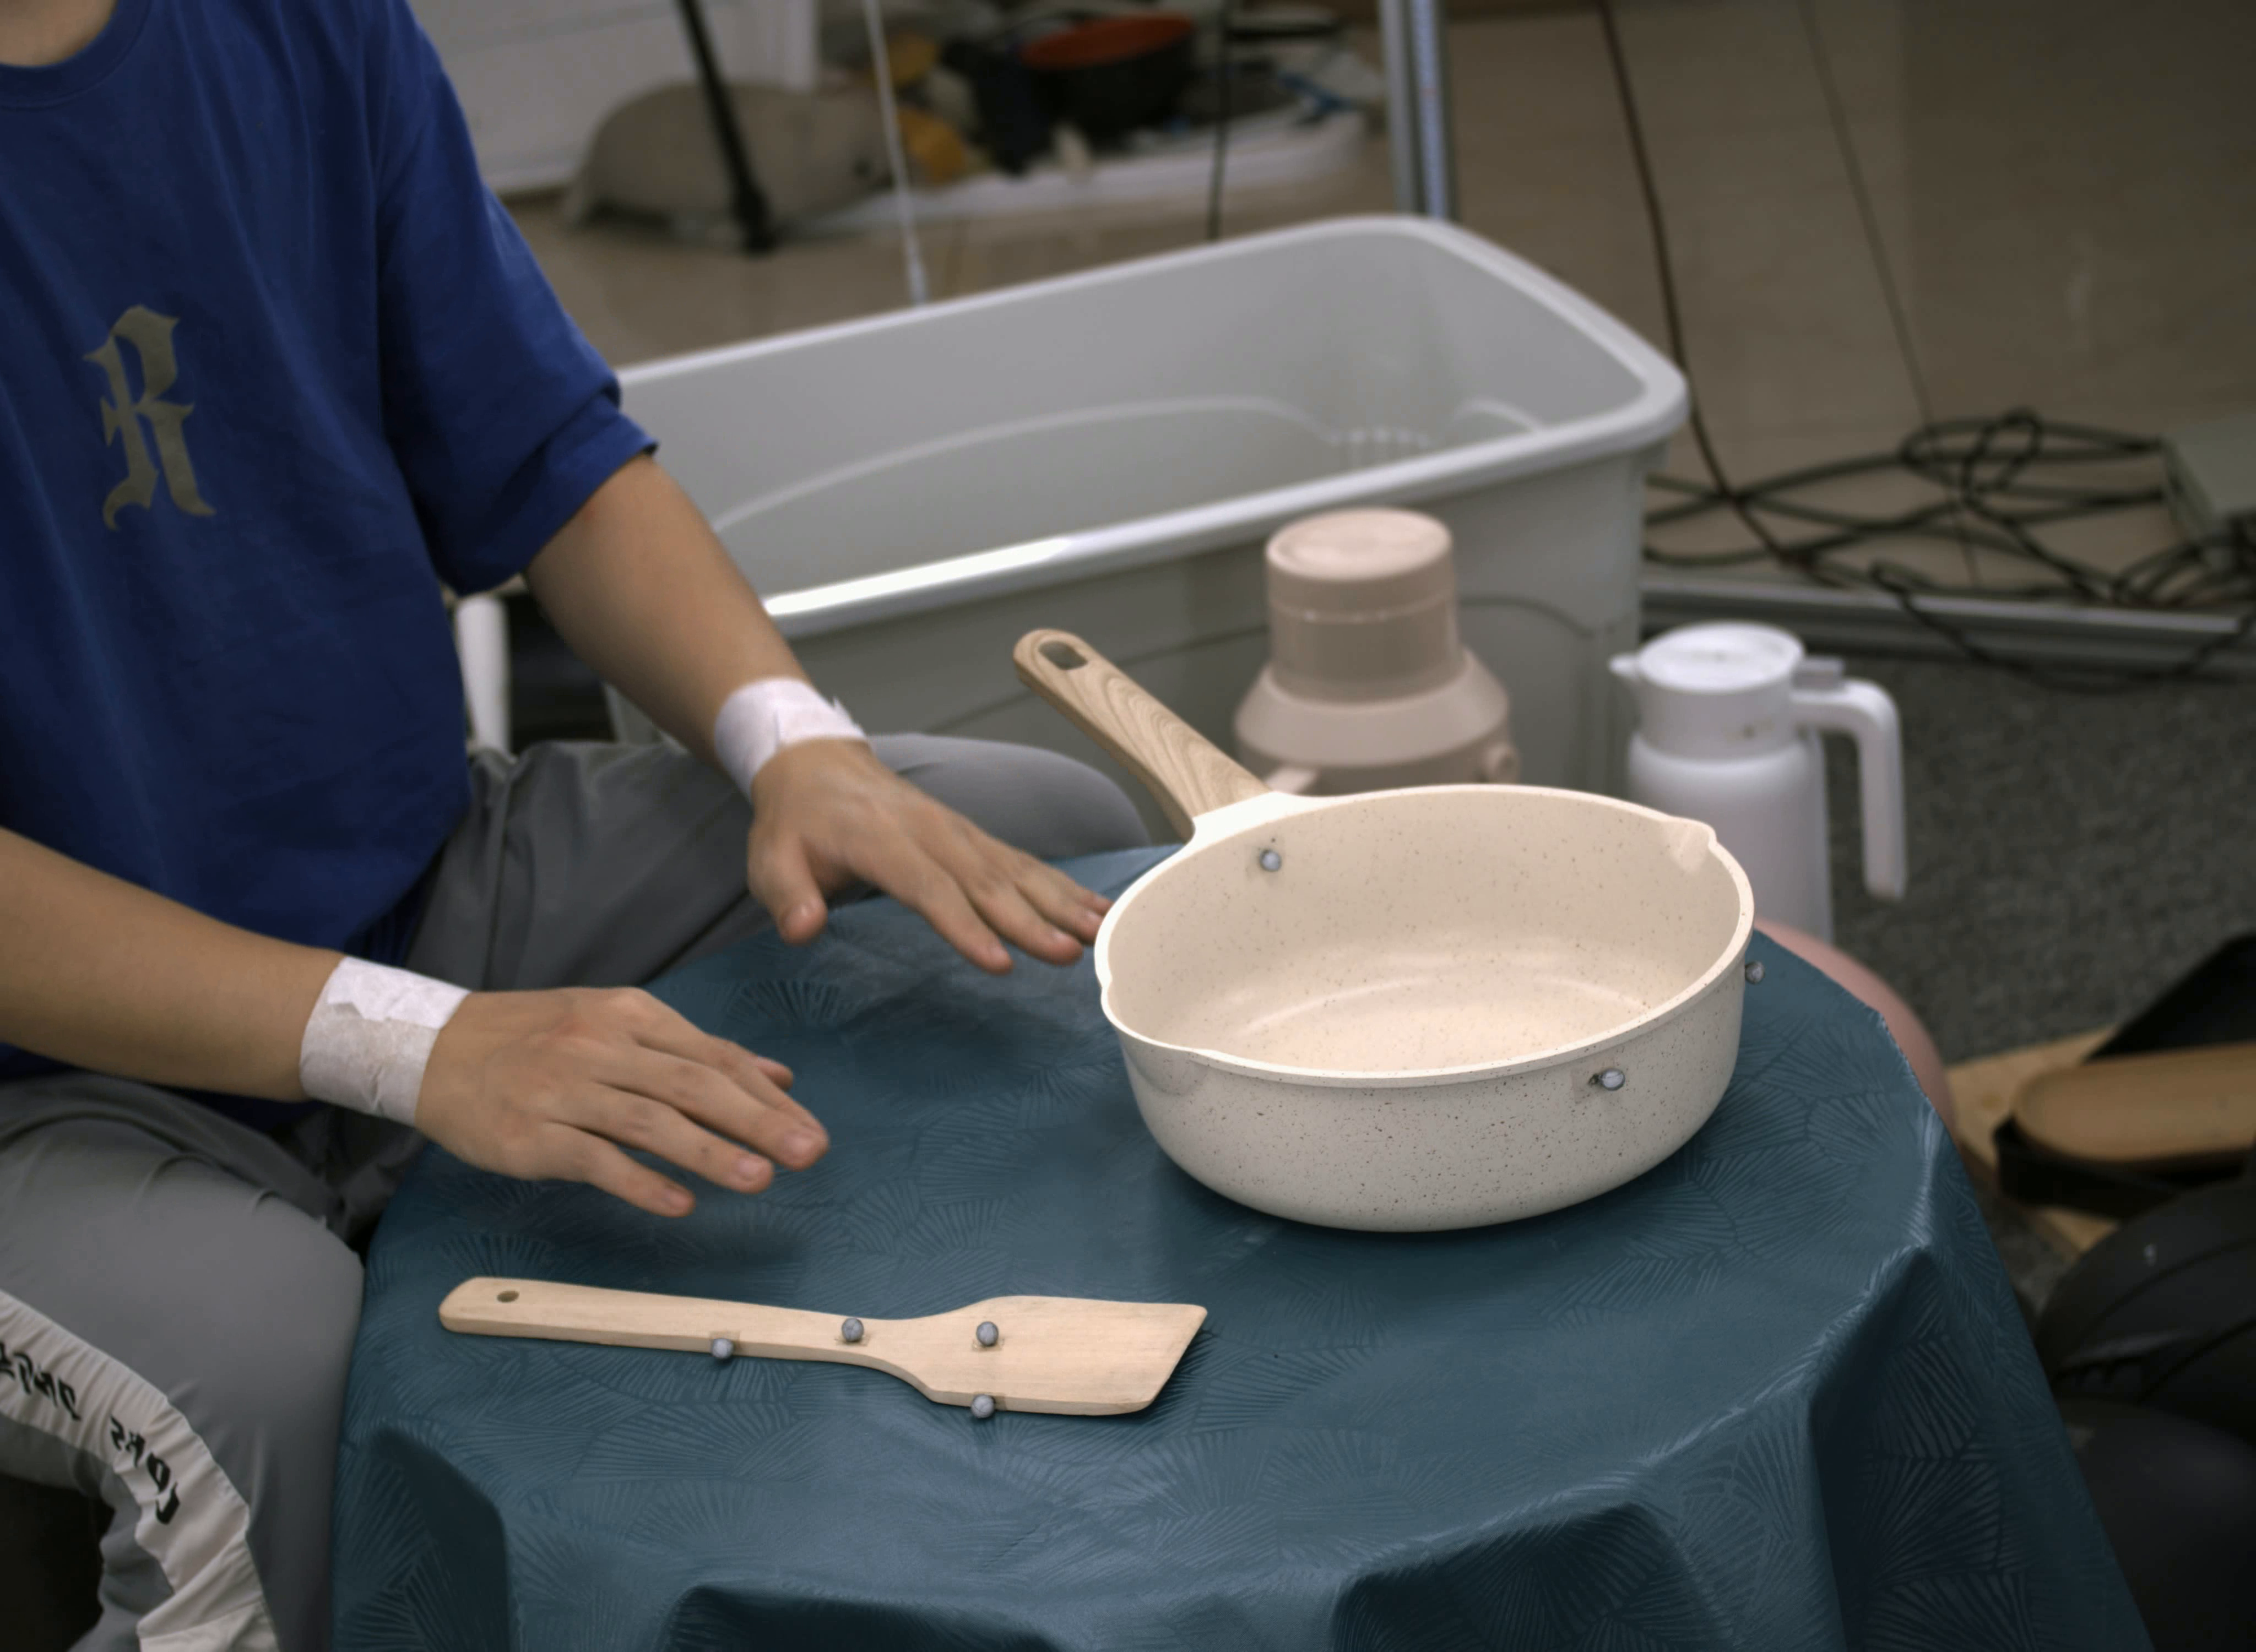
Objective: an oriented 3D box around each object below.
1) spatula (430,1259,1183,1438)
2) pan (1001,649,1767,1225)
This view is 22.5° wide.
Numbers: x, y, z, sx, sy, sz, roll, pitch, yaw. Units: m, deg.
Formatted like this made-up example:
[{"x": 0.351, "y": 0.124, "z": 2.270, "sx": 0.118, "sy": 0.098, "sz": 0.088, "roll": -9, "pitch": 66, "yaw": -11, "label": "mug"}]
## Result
[{"x": -0.125, "y": 0.185, "z": 2.066, "sx": 0.292, "sy": 0.011, "sz": 0.071, "roll": 6, "pitch": 30, "yaw": 22, "label": "spatula"}, {"x": 0.074, "y": 0.036, "z": 2.233, "sx": 0.262, "sy": 0.103, "sz": 0.430, "roll": -21, "pitch": 28, "yaw": -24, "label": "pan"}]
